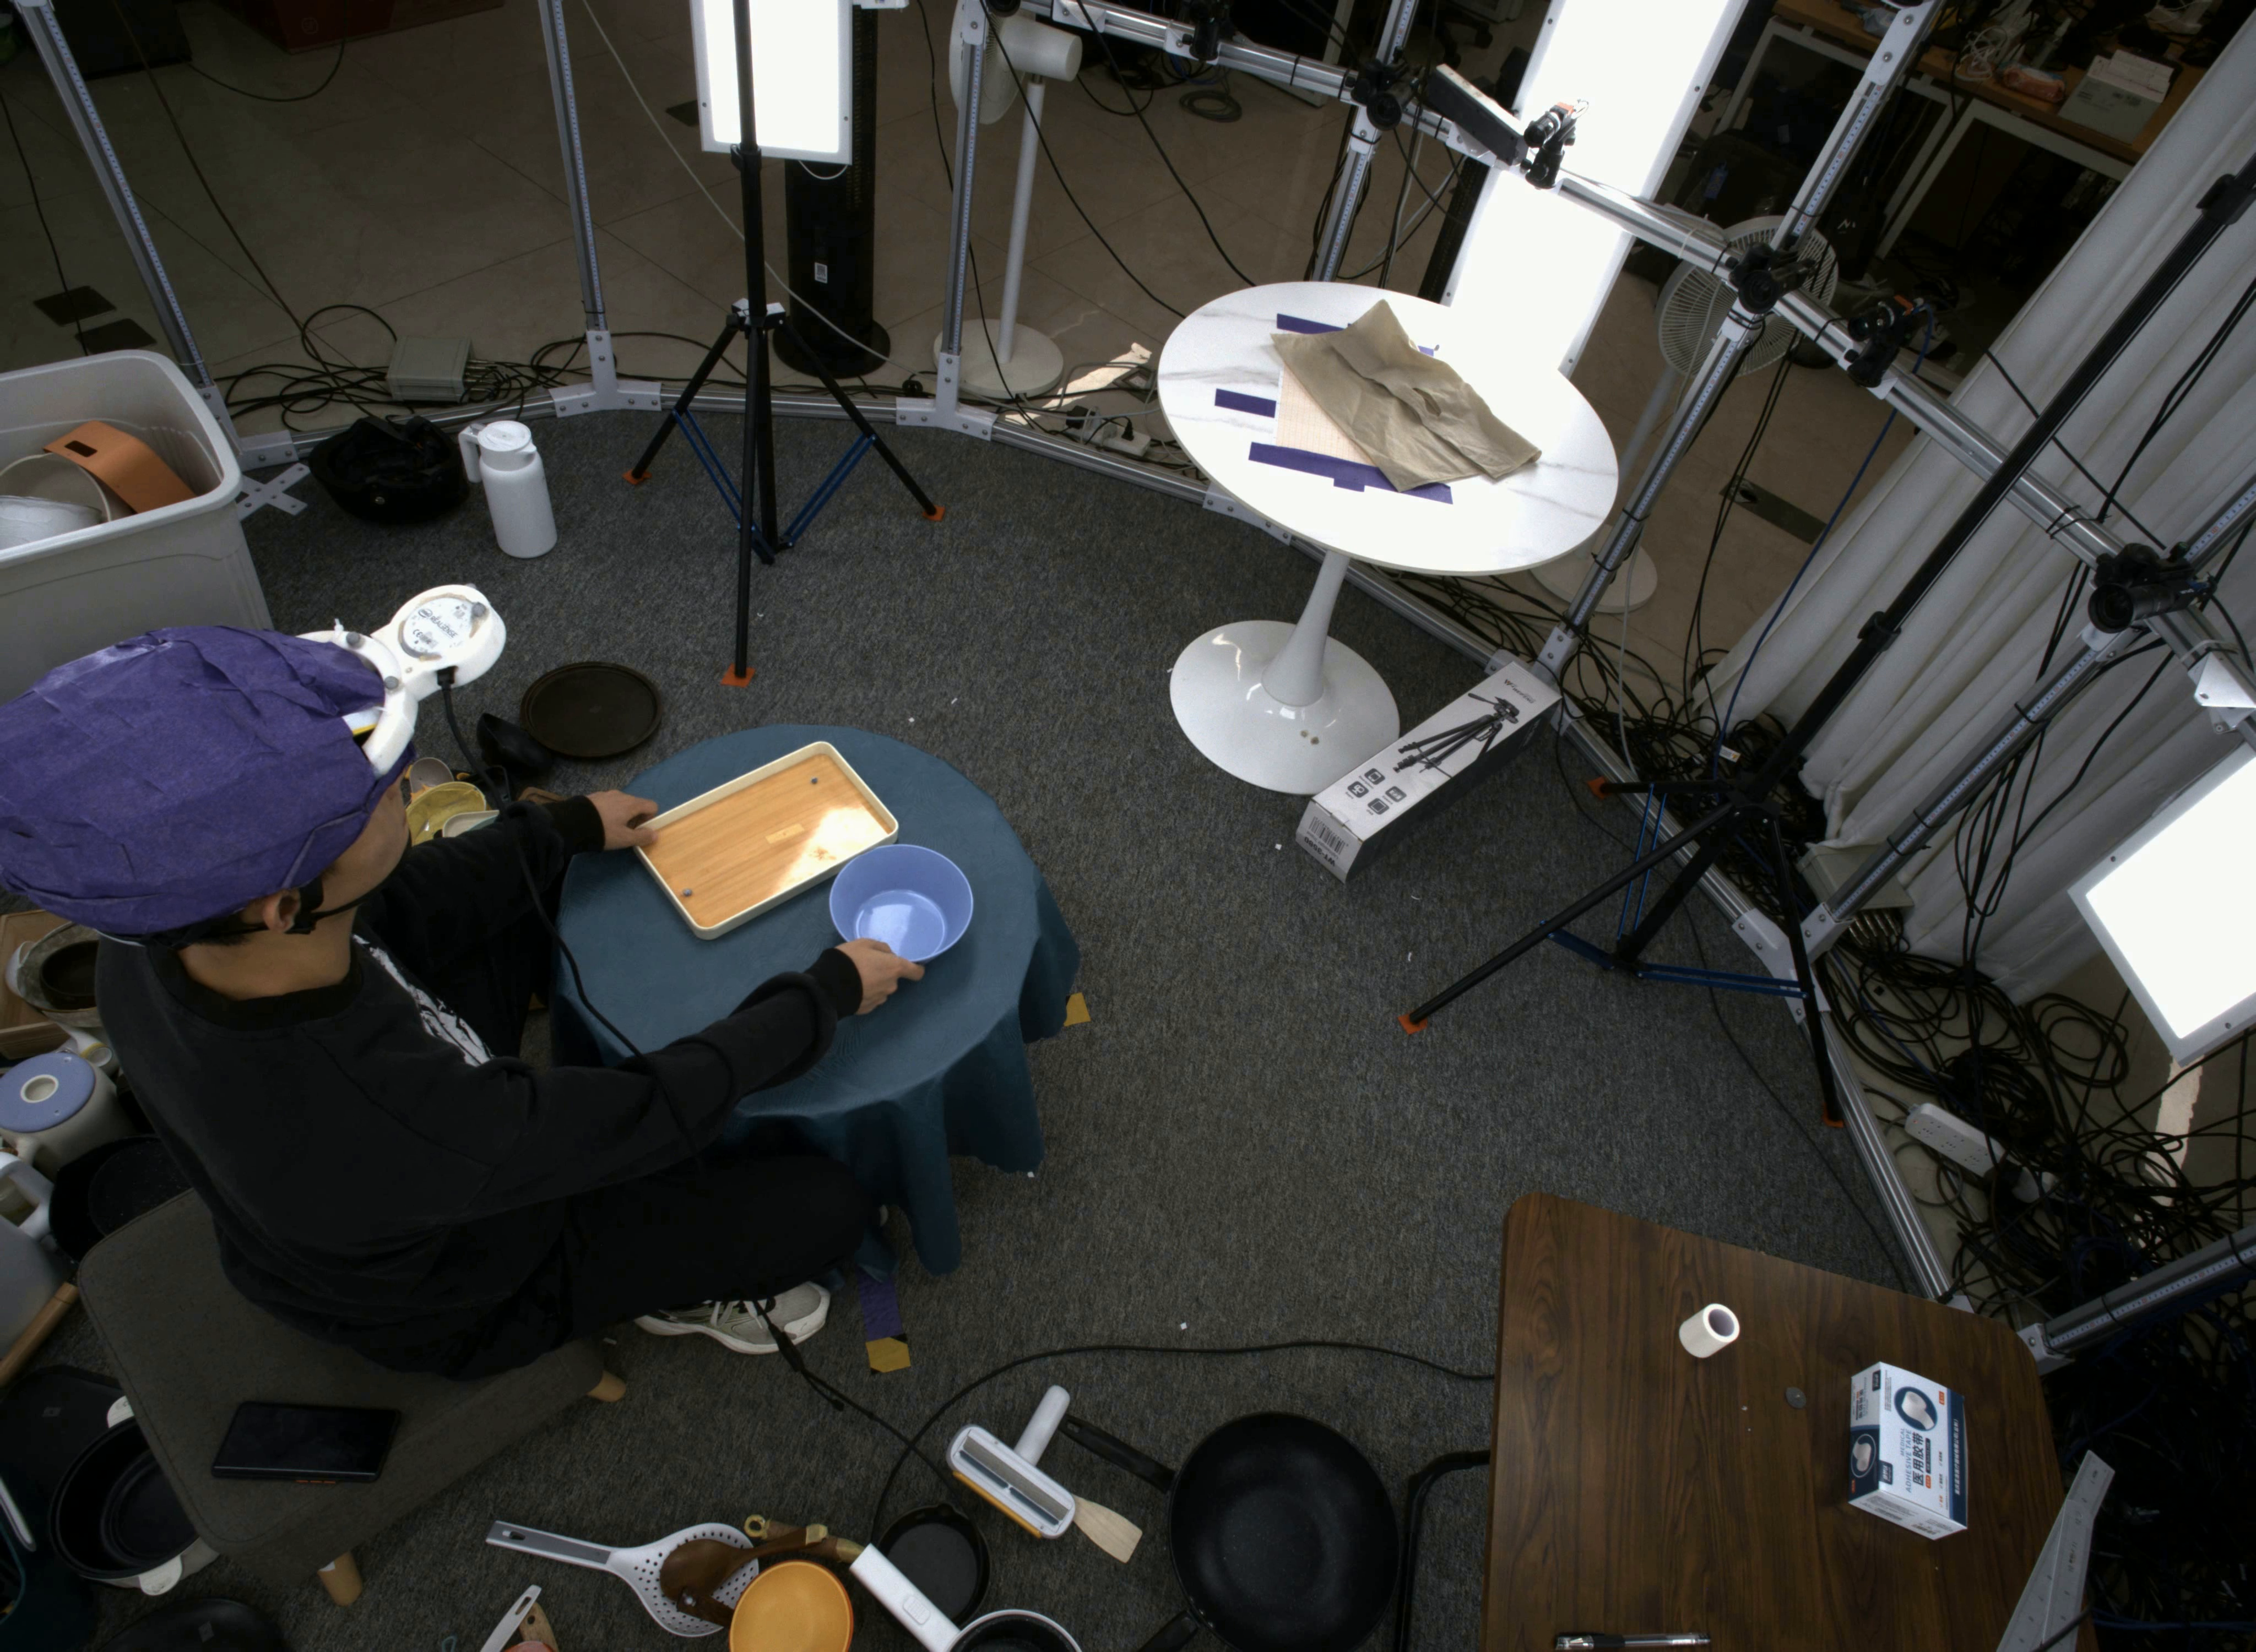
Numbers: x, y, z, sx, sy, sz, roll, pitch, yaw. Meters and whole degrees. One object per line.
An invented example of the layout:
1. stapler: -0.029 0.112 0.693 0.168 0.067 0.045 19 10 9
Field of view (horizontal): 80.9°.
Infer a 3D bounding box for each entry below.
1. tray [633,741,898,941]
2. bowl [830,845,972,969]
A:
1. tray: -0.471 0.012 1.691 0.301 0.028 0.187 -30 67 -31
2. bowl: -0.285 0.111 1.636 0.175 0.072 0.173 7 51 -8
